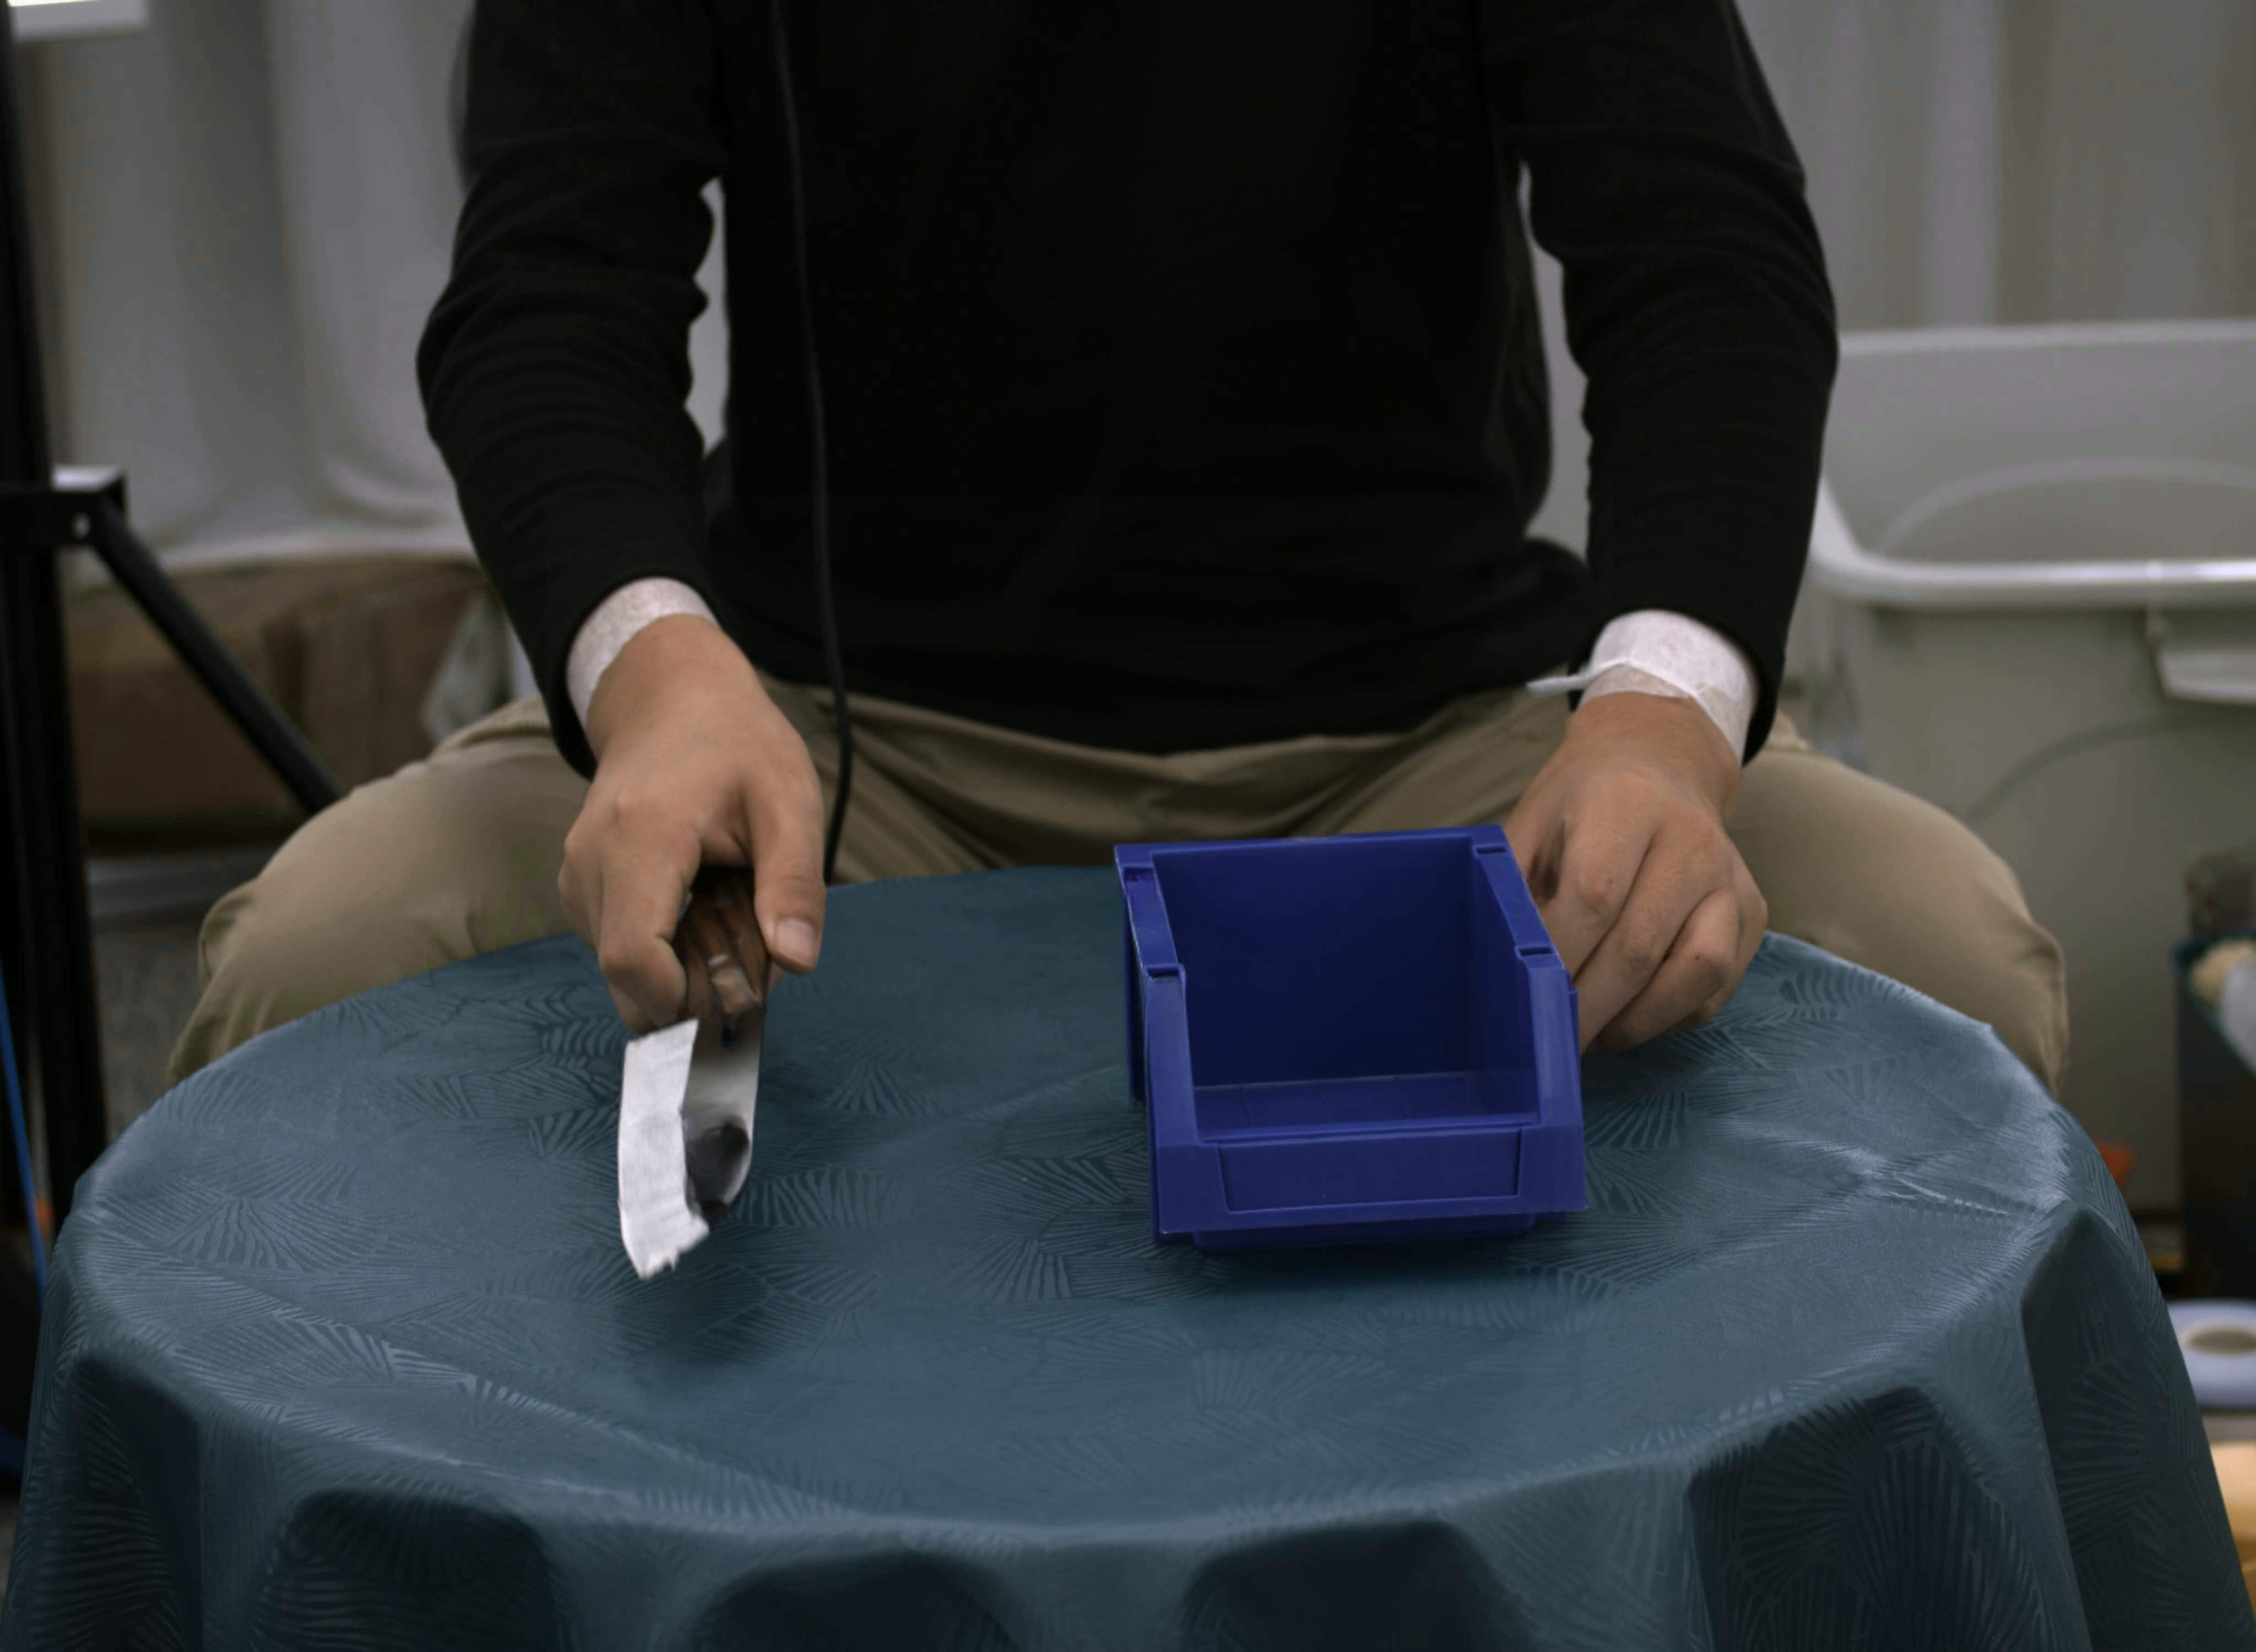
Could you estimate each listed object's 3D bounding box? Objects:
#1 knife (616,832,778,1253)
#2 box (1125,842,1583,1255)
[{"bbox_3d":[-0.126,0.062,1.568,0.050,0.020,0.290,-19,20,7],"label":"knife"},{"bbox_3d":[0.065,0.067,1.542,0.124,0.082,0.180,-2,13,-1],"label":"box"}]
